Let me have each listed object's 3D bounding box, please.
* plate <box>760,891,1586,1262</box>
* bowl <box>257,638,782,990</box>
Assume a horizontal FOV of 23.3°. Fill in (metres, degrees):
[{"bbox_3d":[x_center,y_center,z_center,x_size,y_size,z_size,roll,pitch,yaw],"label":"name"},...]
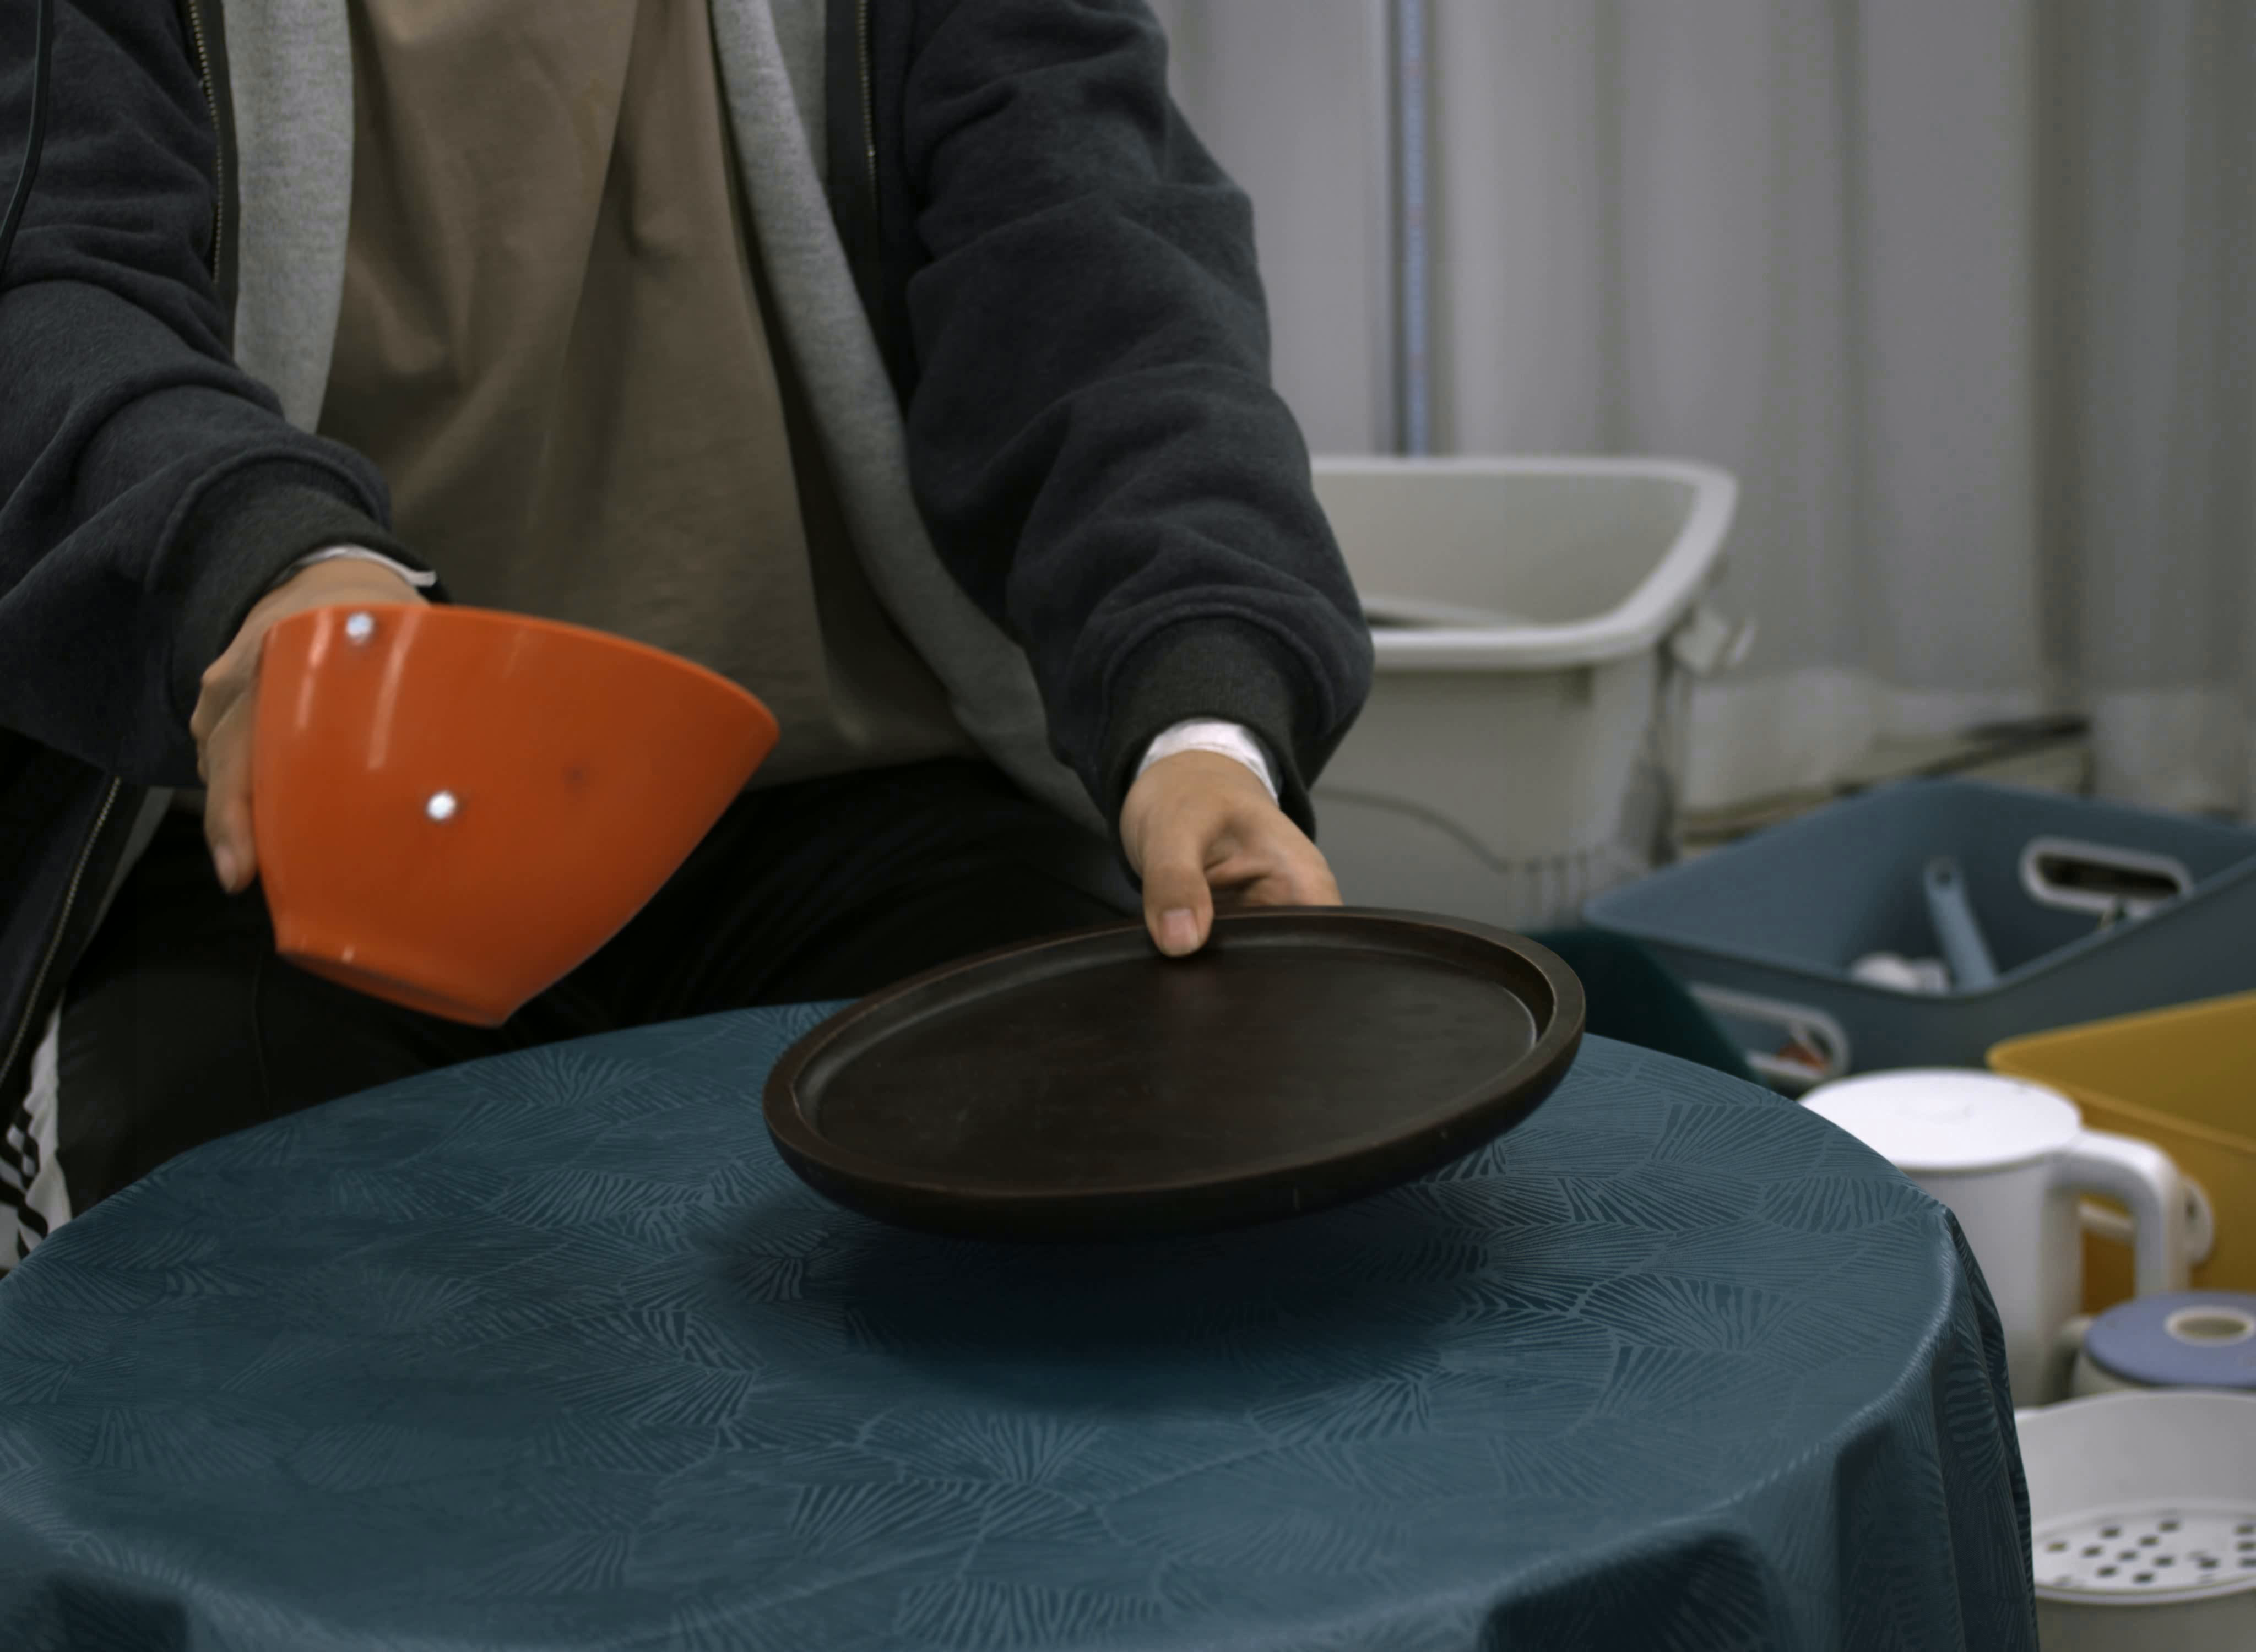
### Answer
[{"bbox_3d":[0.015,0.076,1.664,0.254,0.029,0.257,-8,17,2],"label":"plate"},{"bbox_3d":[-0.179,-0.009,1.555,0.147,0.104,0.148,10,6,-1],"label":"bowl"}]
